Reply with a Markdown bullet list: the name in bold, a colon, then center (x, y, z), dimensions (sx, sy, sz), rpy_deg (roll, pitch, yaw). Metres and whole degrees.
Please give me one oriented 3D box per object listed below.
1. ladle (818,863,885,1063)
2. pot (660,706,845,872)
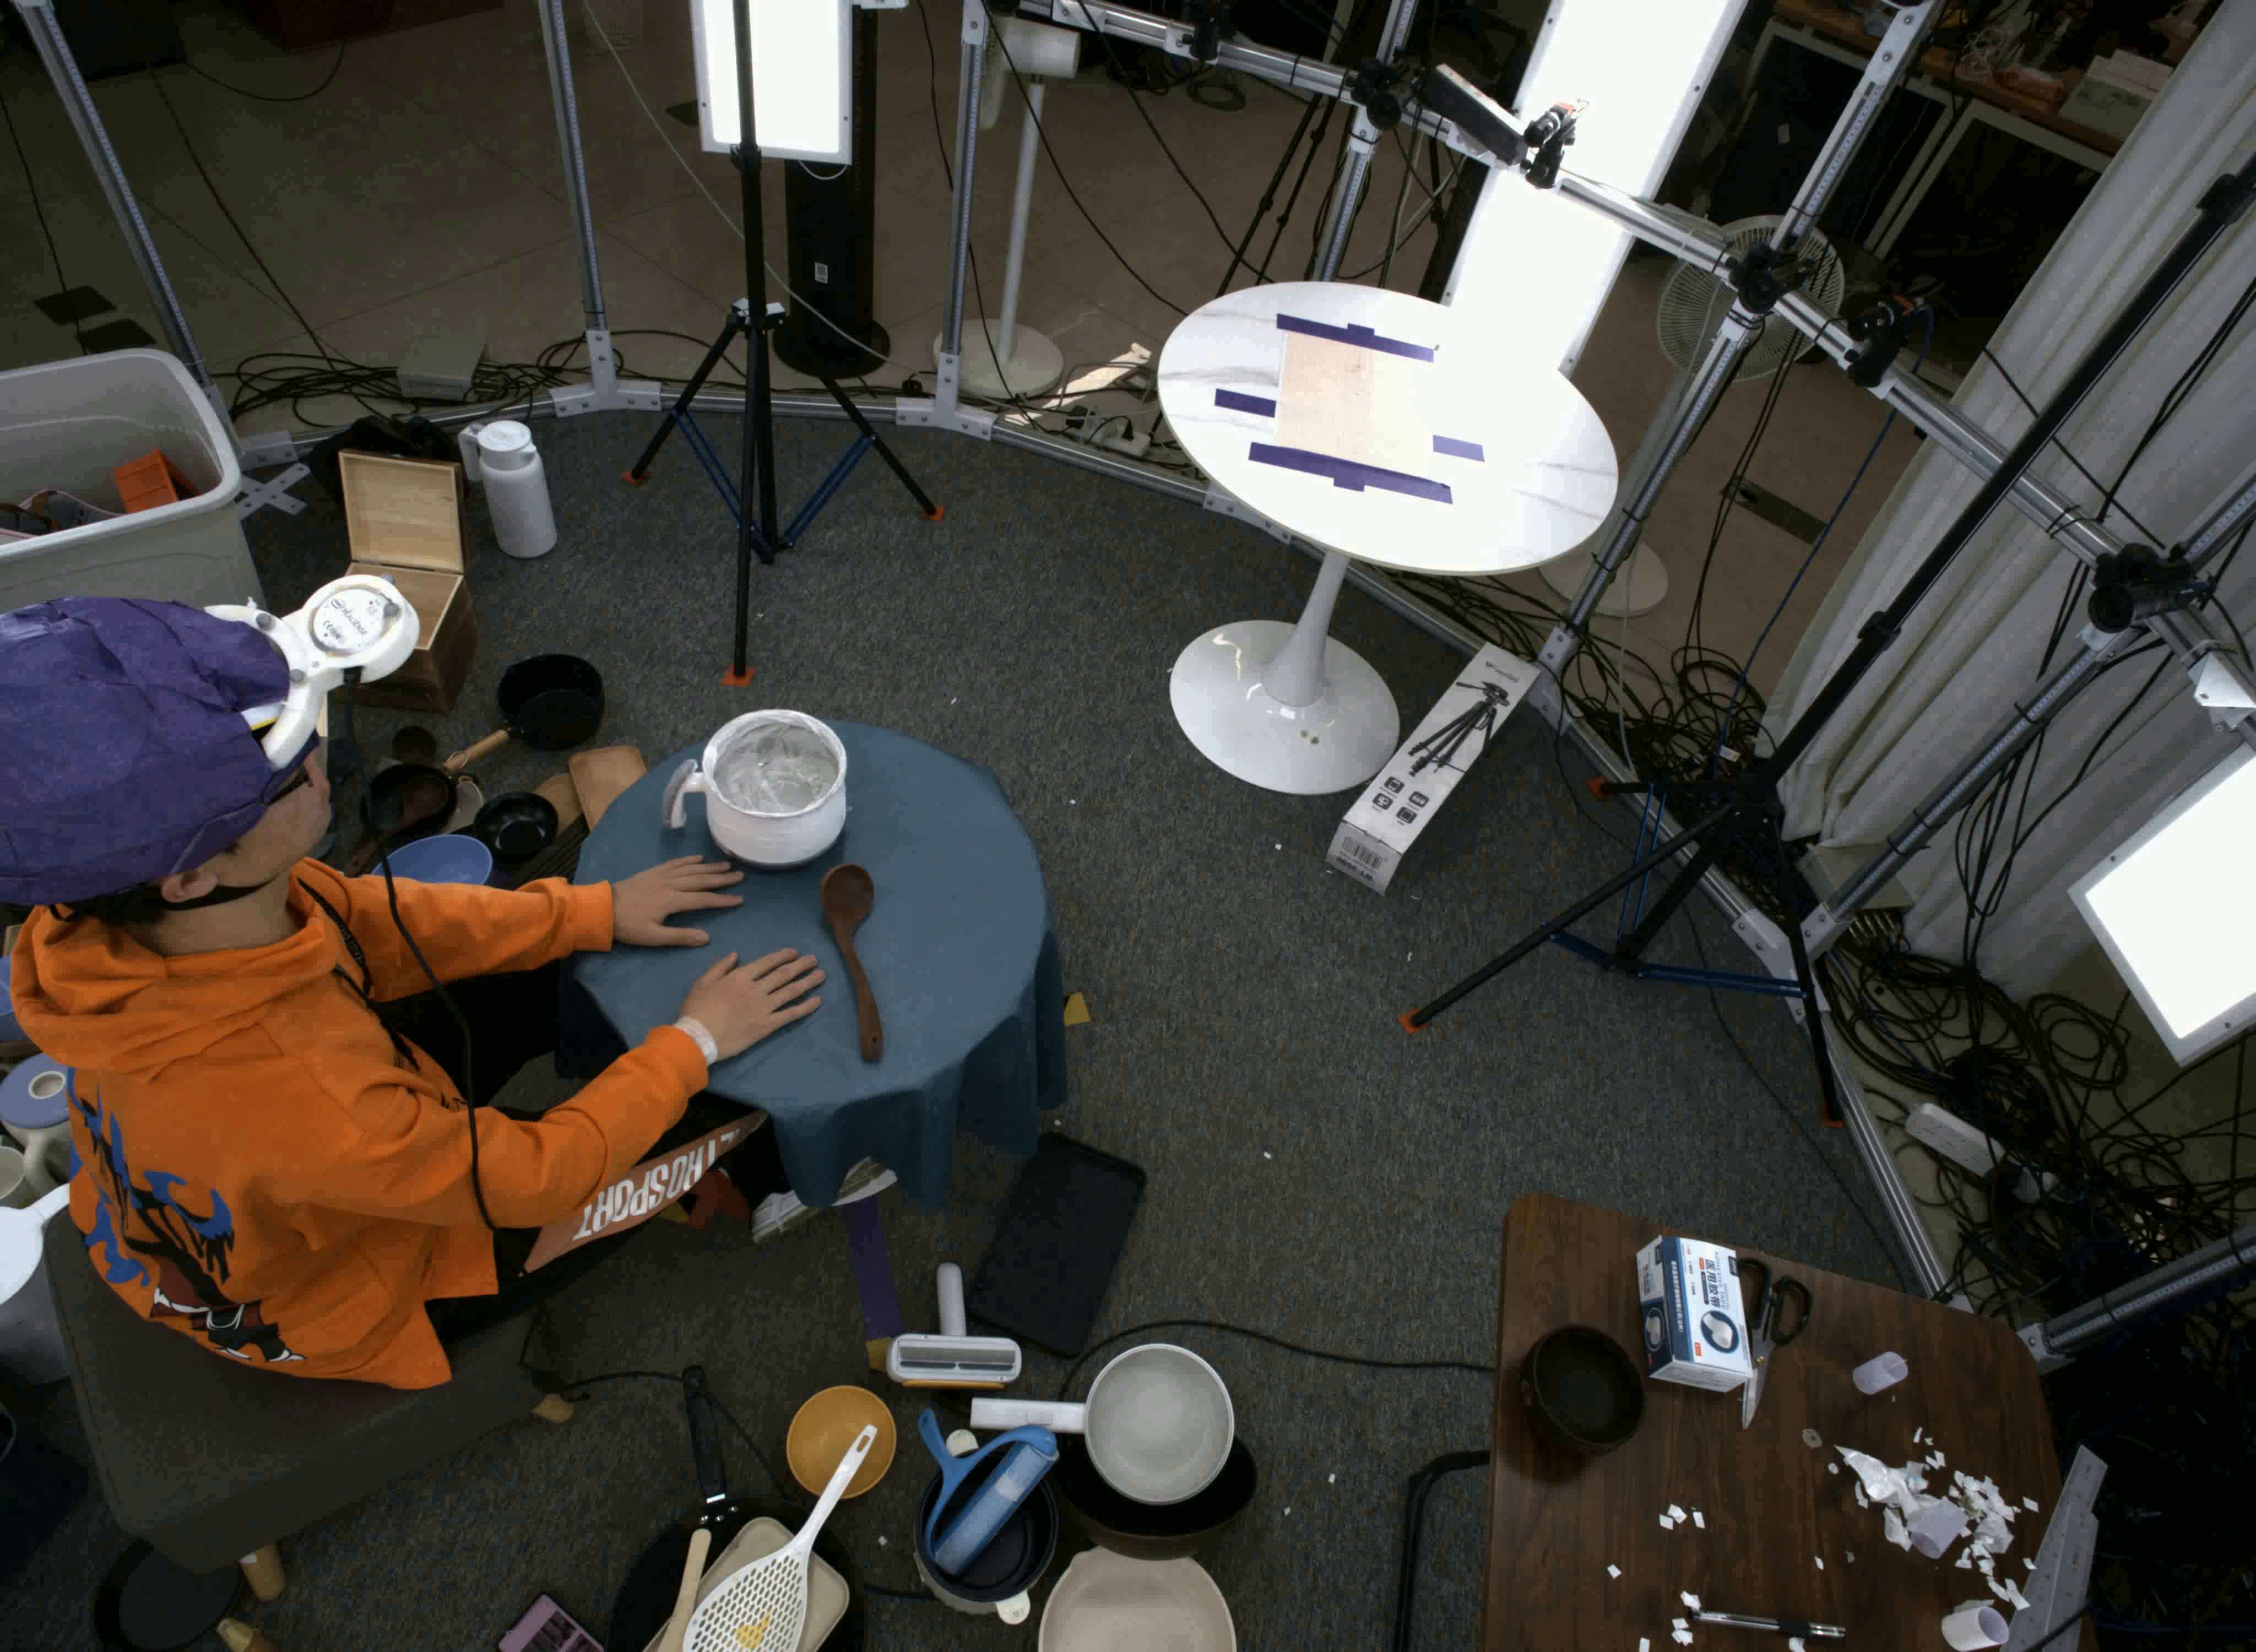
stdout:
- **ladle**: center (-0.325, 0.159, 1.582), dimensions (0.078, 0.065, 0.254), rpy_deg (9, 47, -40)
- **pot**: center (-0.478, -0.042, 1.642), dimensions (0.234, 0.139, 0.174), rpy_deg (-4, 54, -17)
